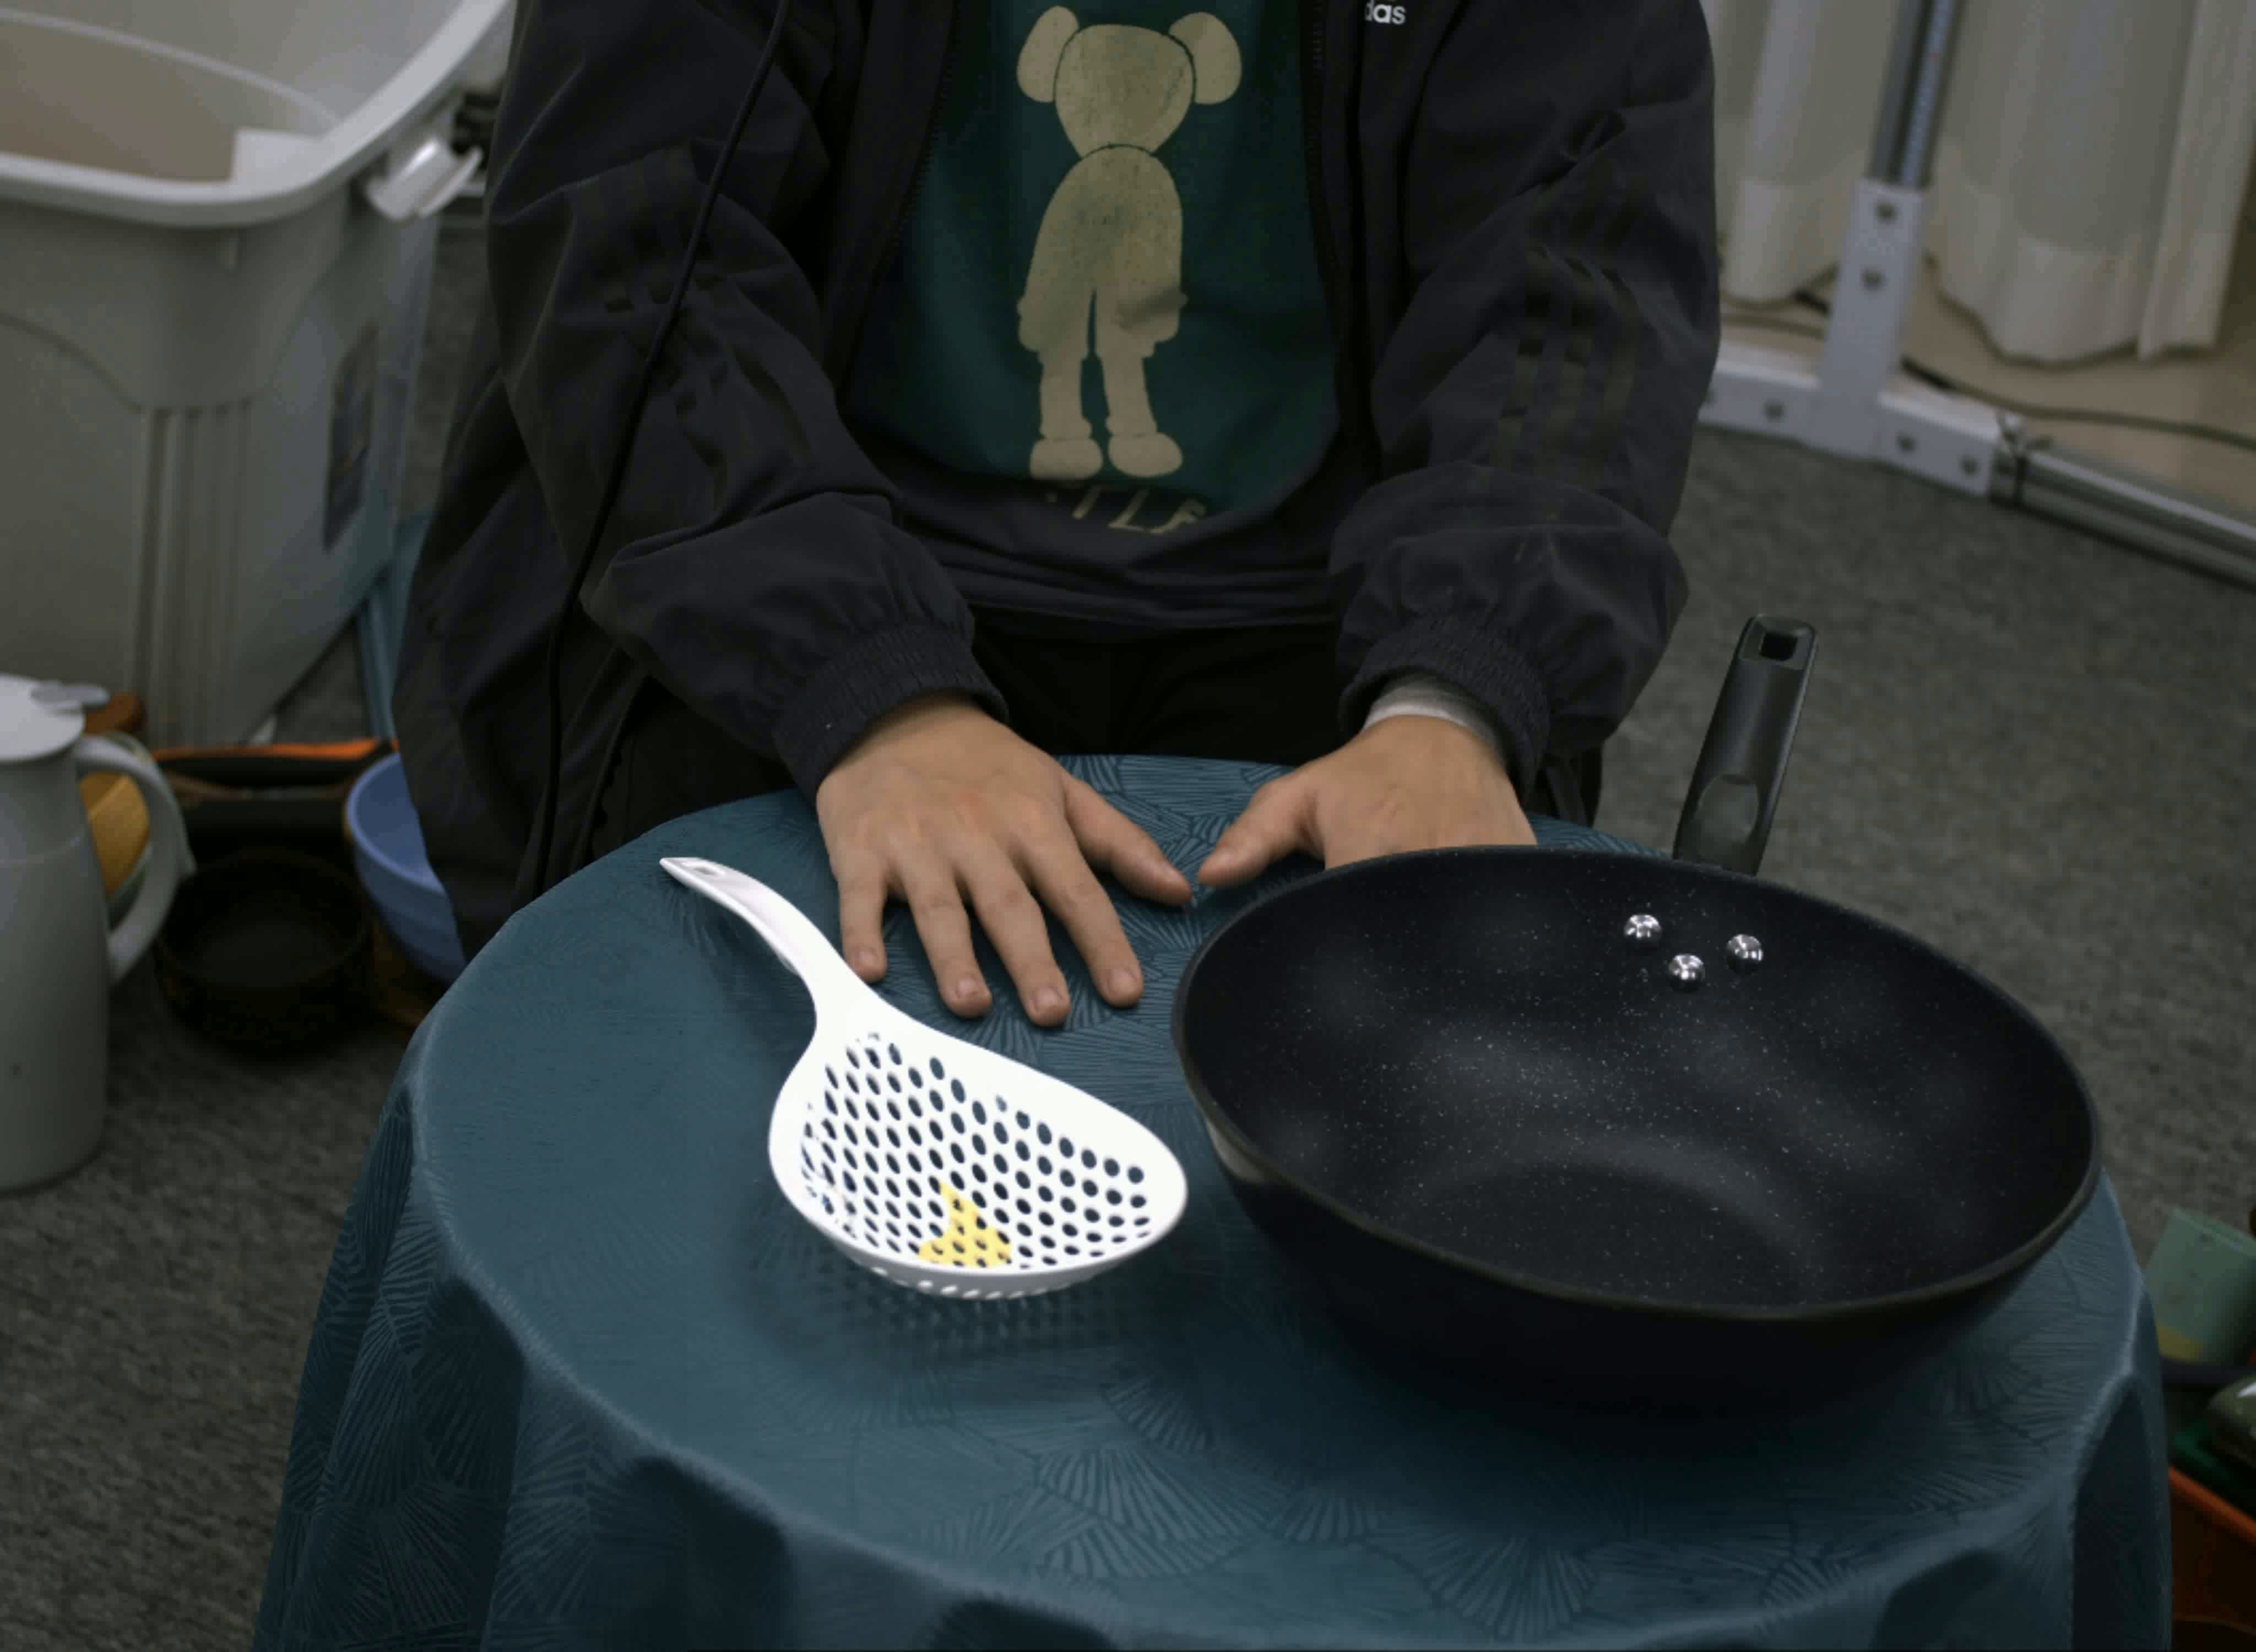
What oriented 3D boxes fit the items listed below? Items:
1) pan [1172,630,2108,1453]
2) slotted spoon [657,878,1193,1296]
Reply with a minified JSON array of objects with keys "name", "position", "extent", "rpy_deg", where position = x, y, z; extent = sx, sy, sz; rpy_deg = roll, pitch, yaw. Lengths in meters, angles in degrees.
[{"name":"pan","position":[0.185,0.074,1.828],"extent":[0.310,0.111,0.478],"rpy_deg":[13,28,10]},{"name":"slotted spoon","position":[-0.092,0.077,1.831],"extent":[0.136,0.050,0.351],"rpy_deg":[-8,30,-22]}]
